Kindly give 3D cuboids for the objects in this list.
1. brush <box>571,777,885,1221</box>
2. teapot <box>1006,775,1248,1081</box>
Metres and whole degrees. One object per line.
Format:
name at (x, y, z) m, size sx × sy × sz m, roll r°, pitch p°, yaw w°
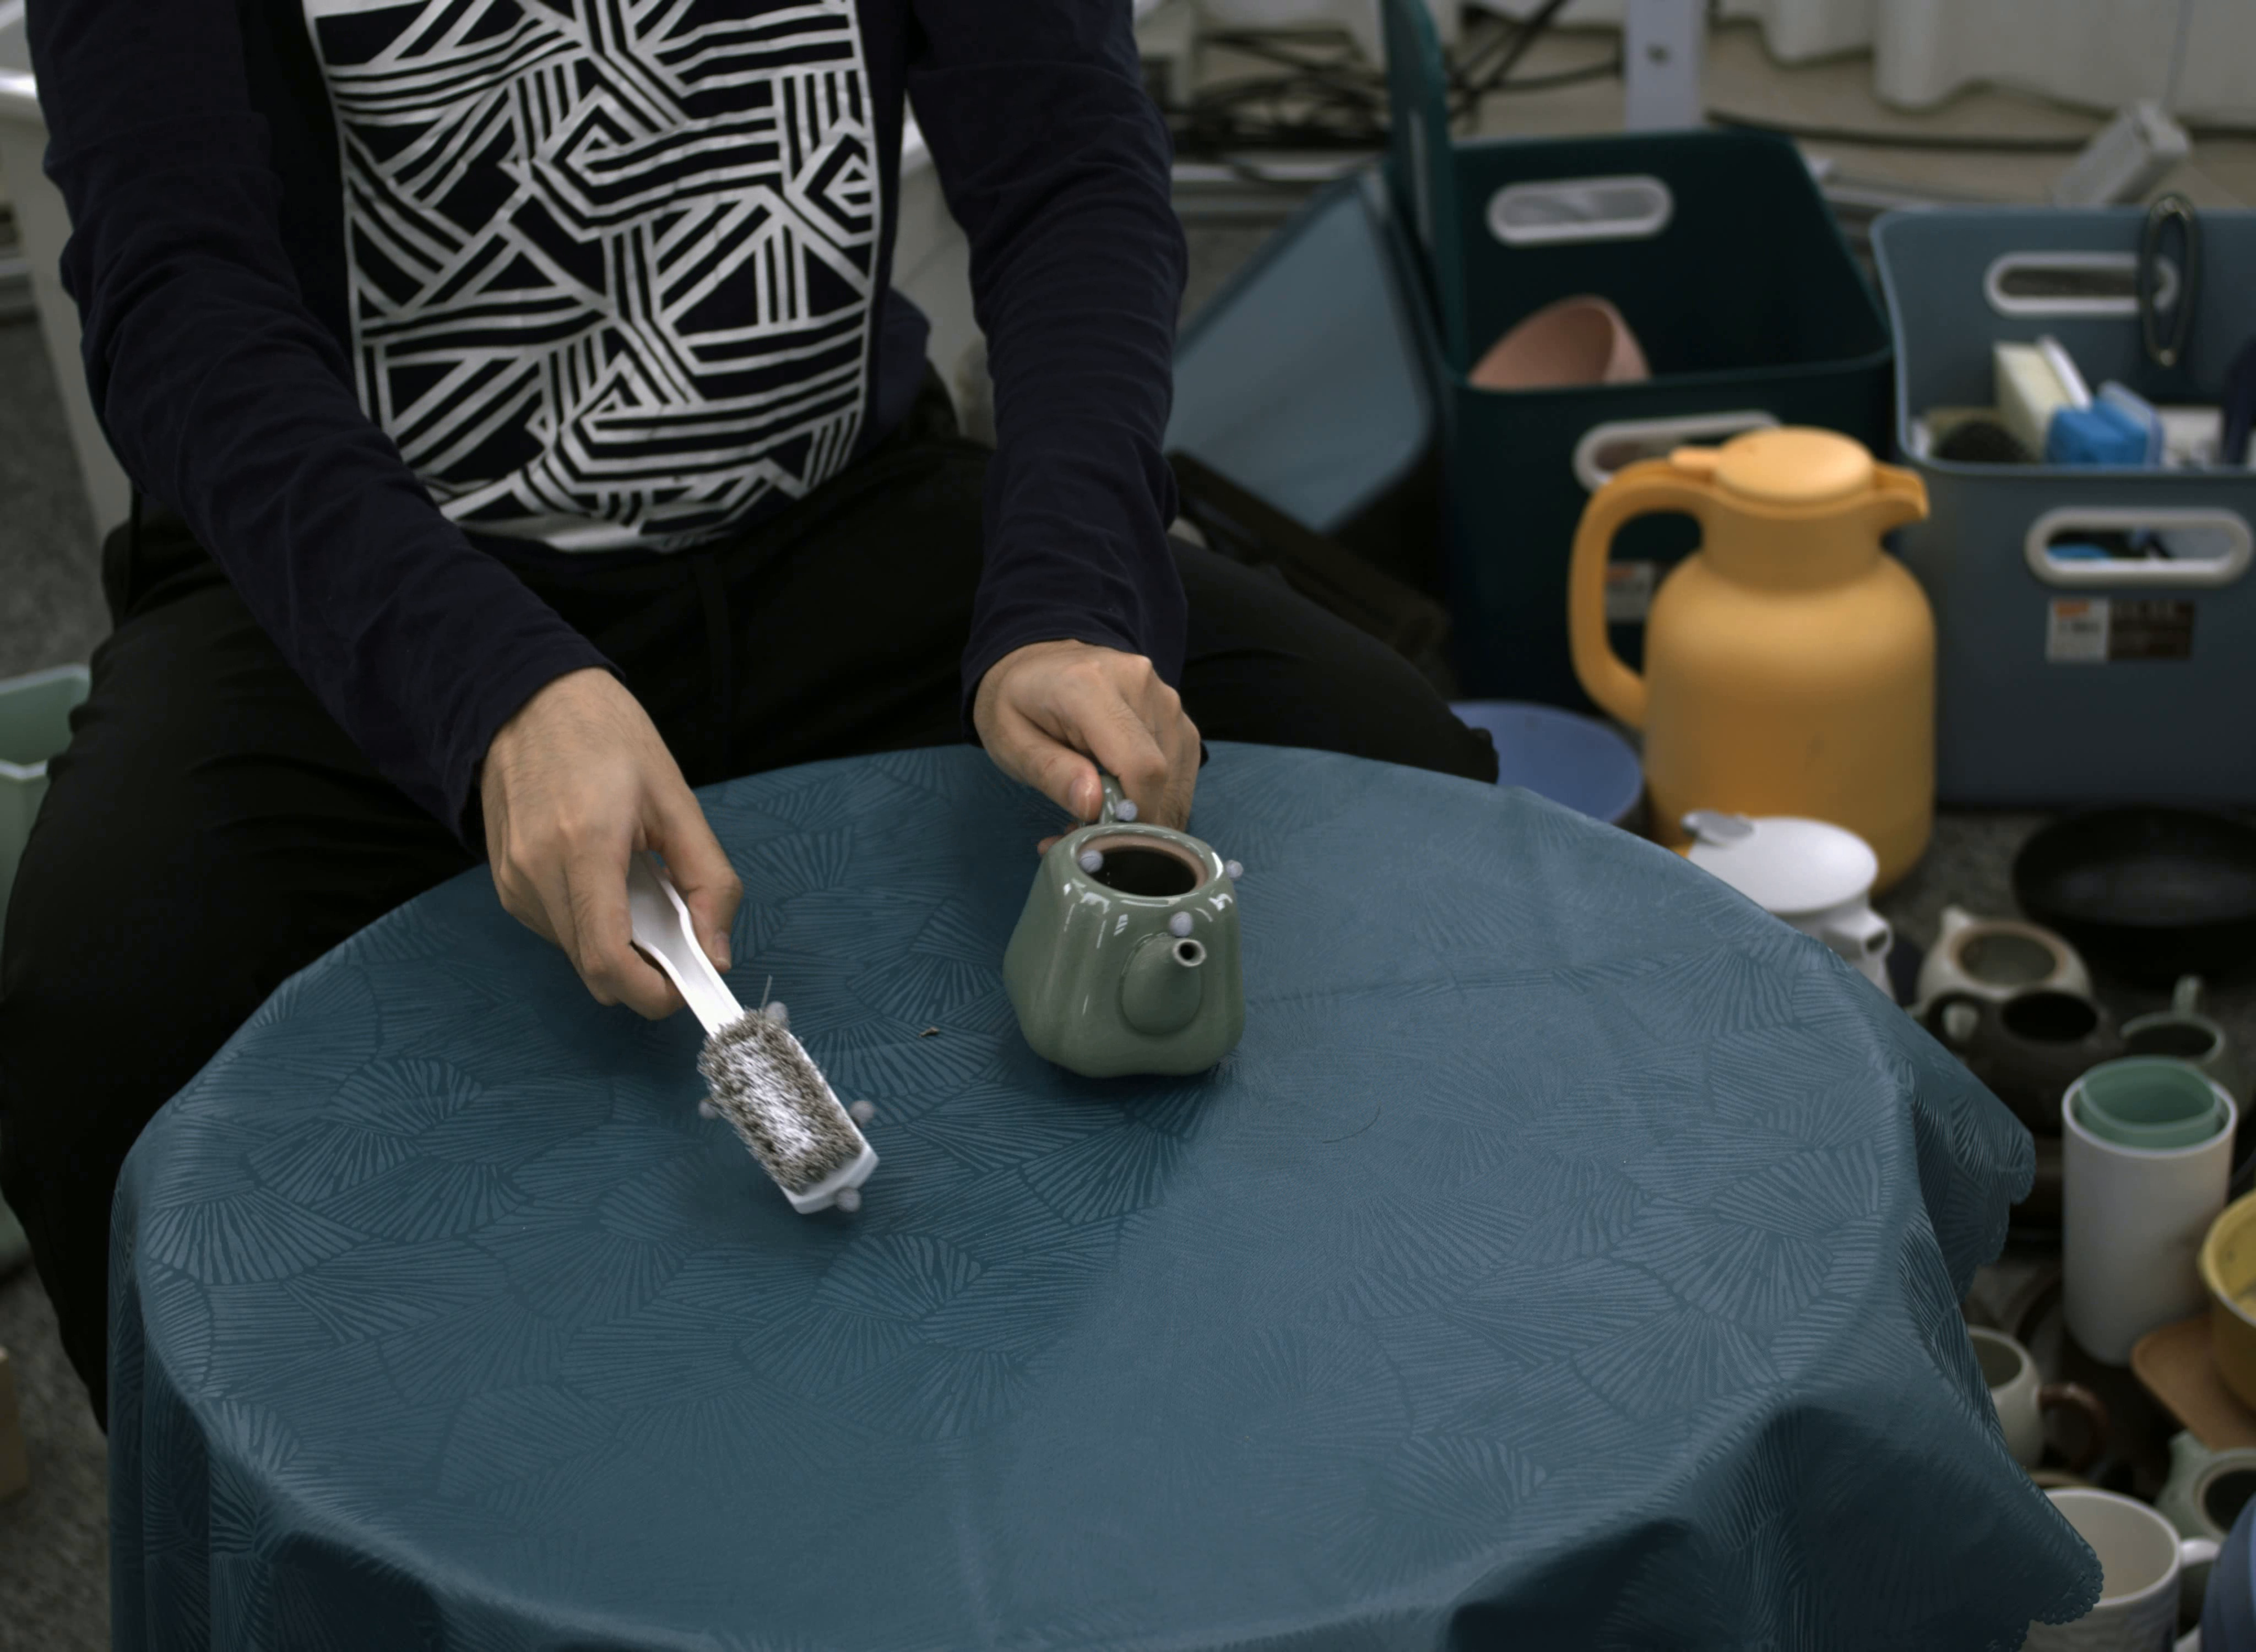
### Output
brush at (-0.147, 0.047, 1.910) m, size 0.034 × 0.050 × 0.246 m, roll -35°, pitch 46°, yaw -1°
teapot at (0.001, 0.041, 1.928) m, size 0.080 × 0.074 × 0.134 m, roll -2°, pitch 29°, yaw -15°
